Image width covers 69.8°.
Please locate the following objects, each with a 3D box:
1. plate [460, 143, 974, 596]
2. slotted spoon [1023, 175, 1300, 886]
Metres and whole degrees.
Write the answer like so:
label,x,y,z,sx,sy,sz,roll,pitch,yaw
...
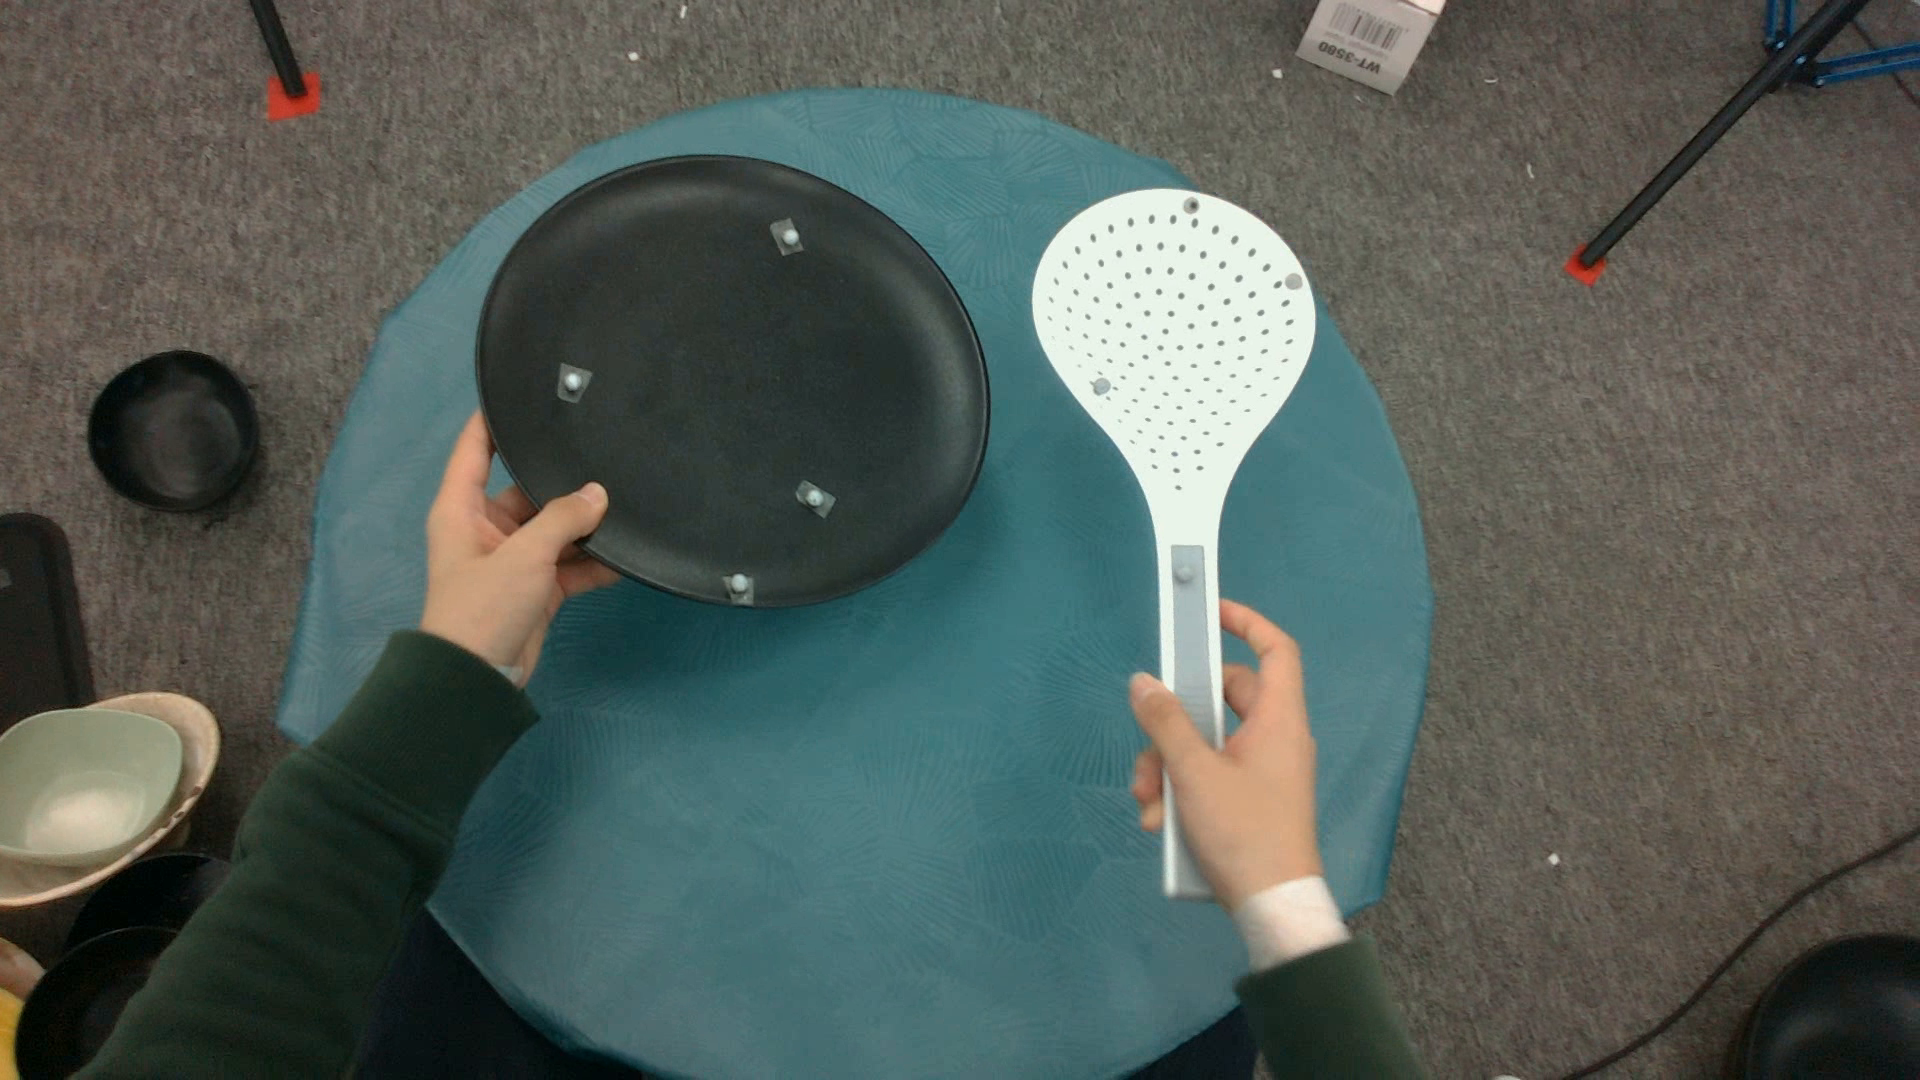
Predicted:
label,x,y,z,sx,sy,sz,roll,pitch,yaw
plate,-0.112,-0.085,0.664,0.244,0.023,0.245,7,66,-17
slotted spoon,0.096,-0.019,0.635,0.136,0.045,0.351,1,62,-1
